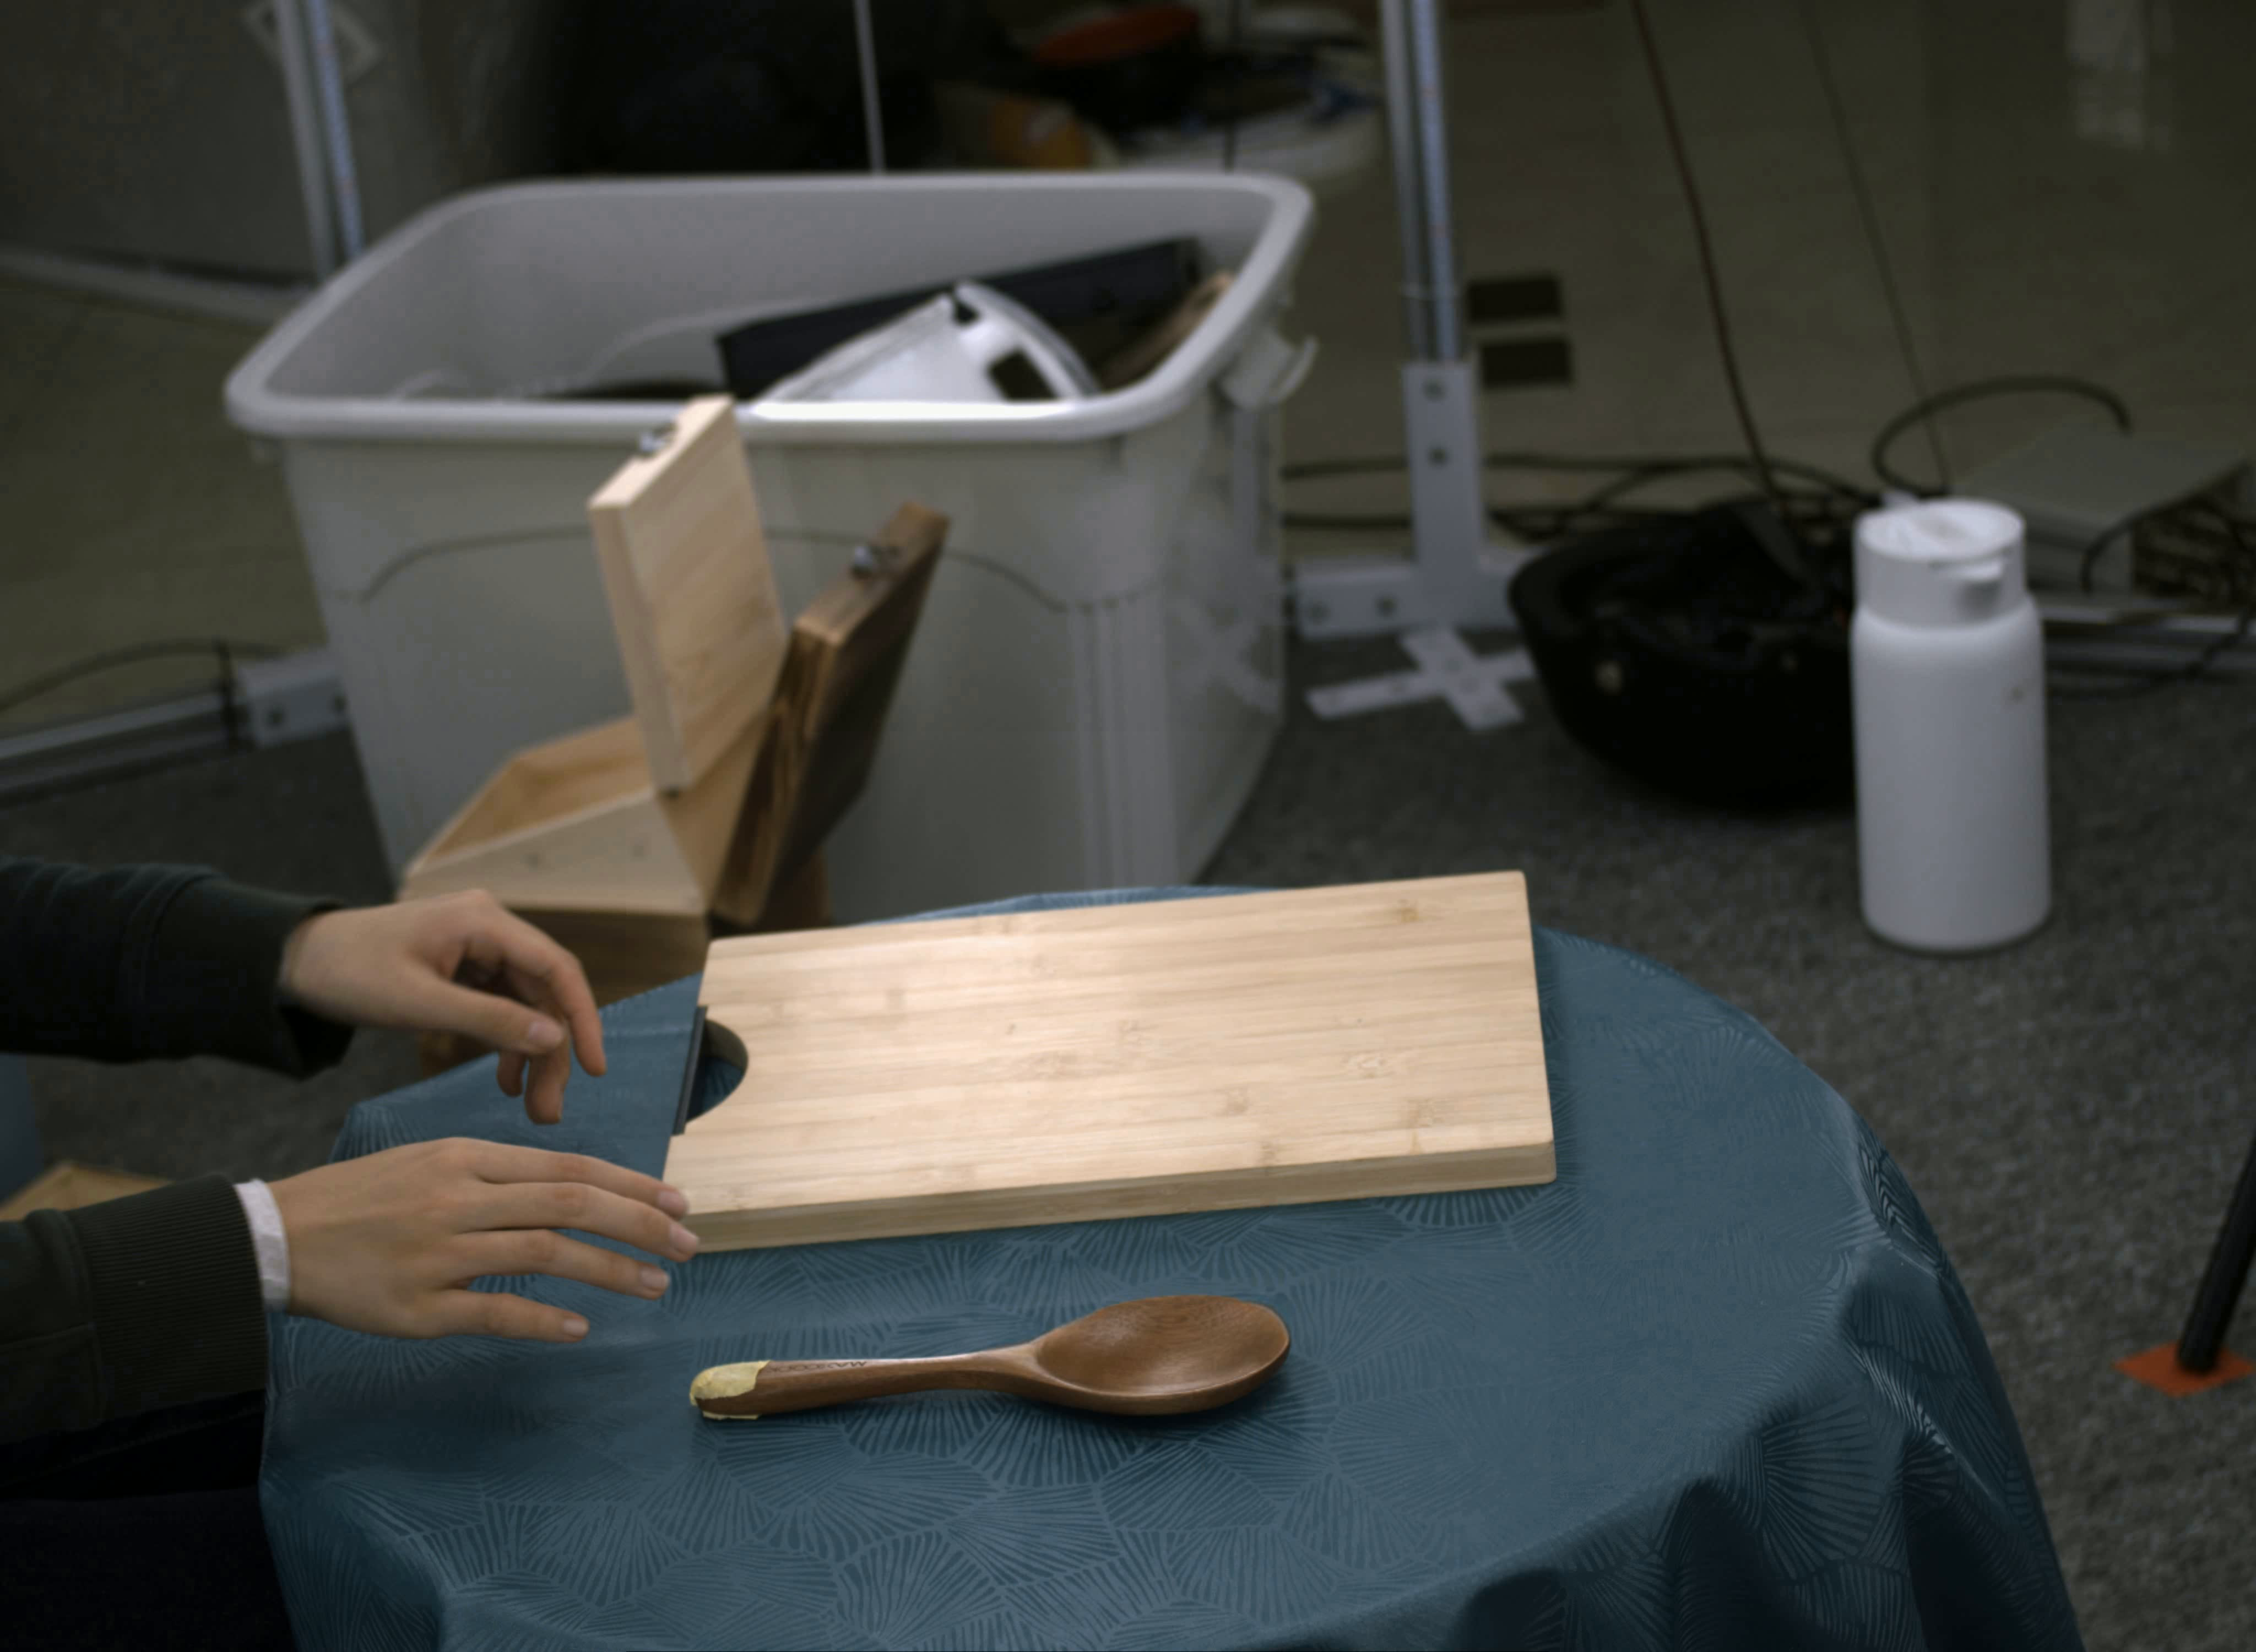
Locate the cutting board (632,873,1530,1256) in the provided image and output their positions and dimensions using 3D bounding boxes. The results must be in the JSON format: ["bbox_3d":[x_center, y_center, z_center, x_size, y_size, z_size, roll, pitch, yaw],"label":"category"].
[{"bbox_3d":[-0.013,0.092,2.238,0.348,0.024,0.247,-5,24,3],"label":"cutting board"}]

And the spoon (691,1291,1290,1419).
[{"bbox_3d":[-0.049,0.194,2.025,0.215,0.017,0.074,-3,27,5],"label":"spoon"}]
